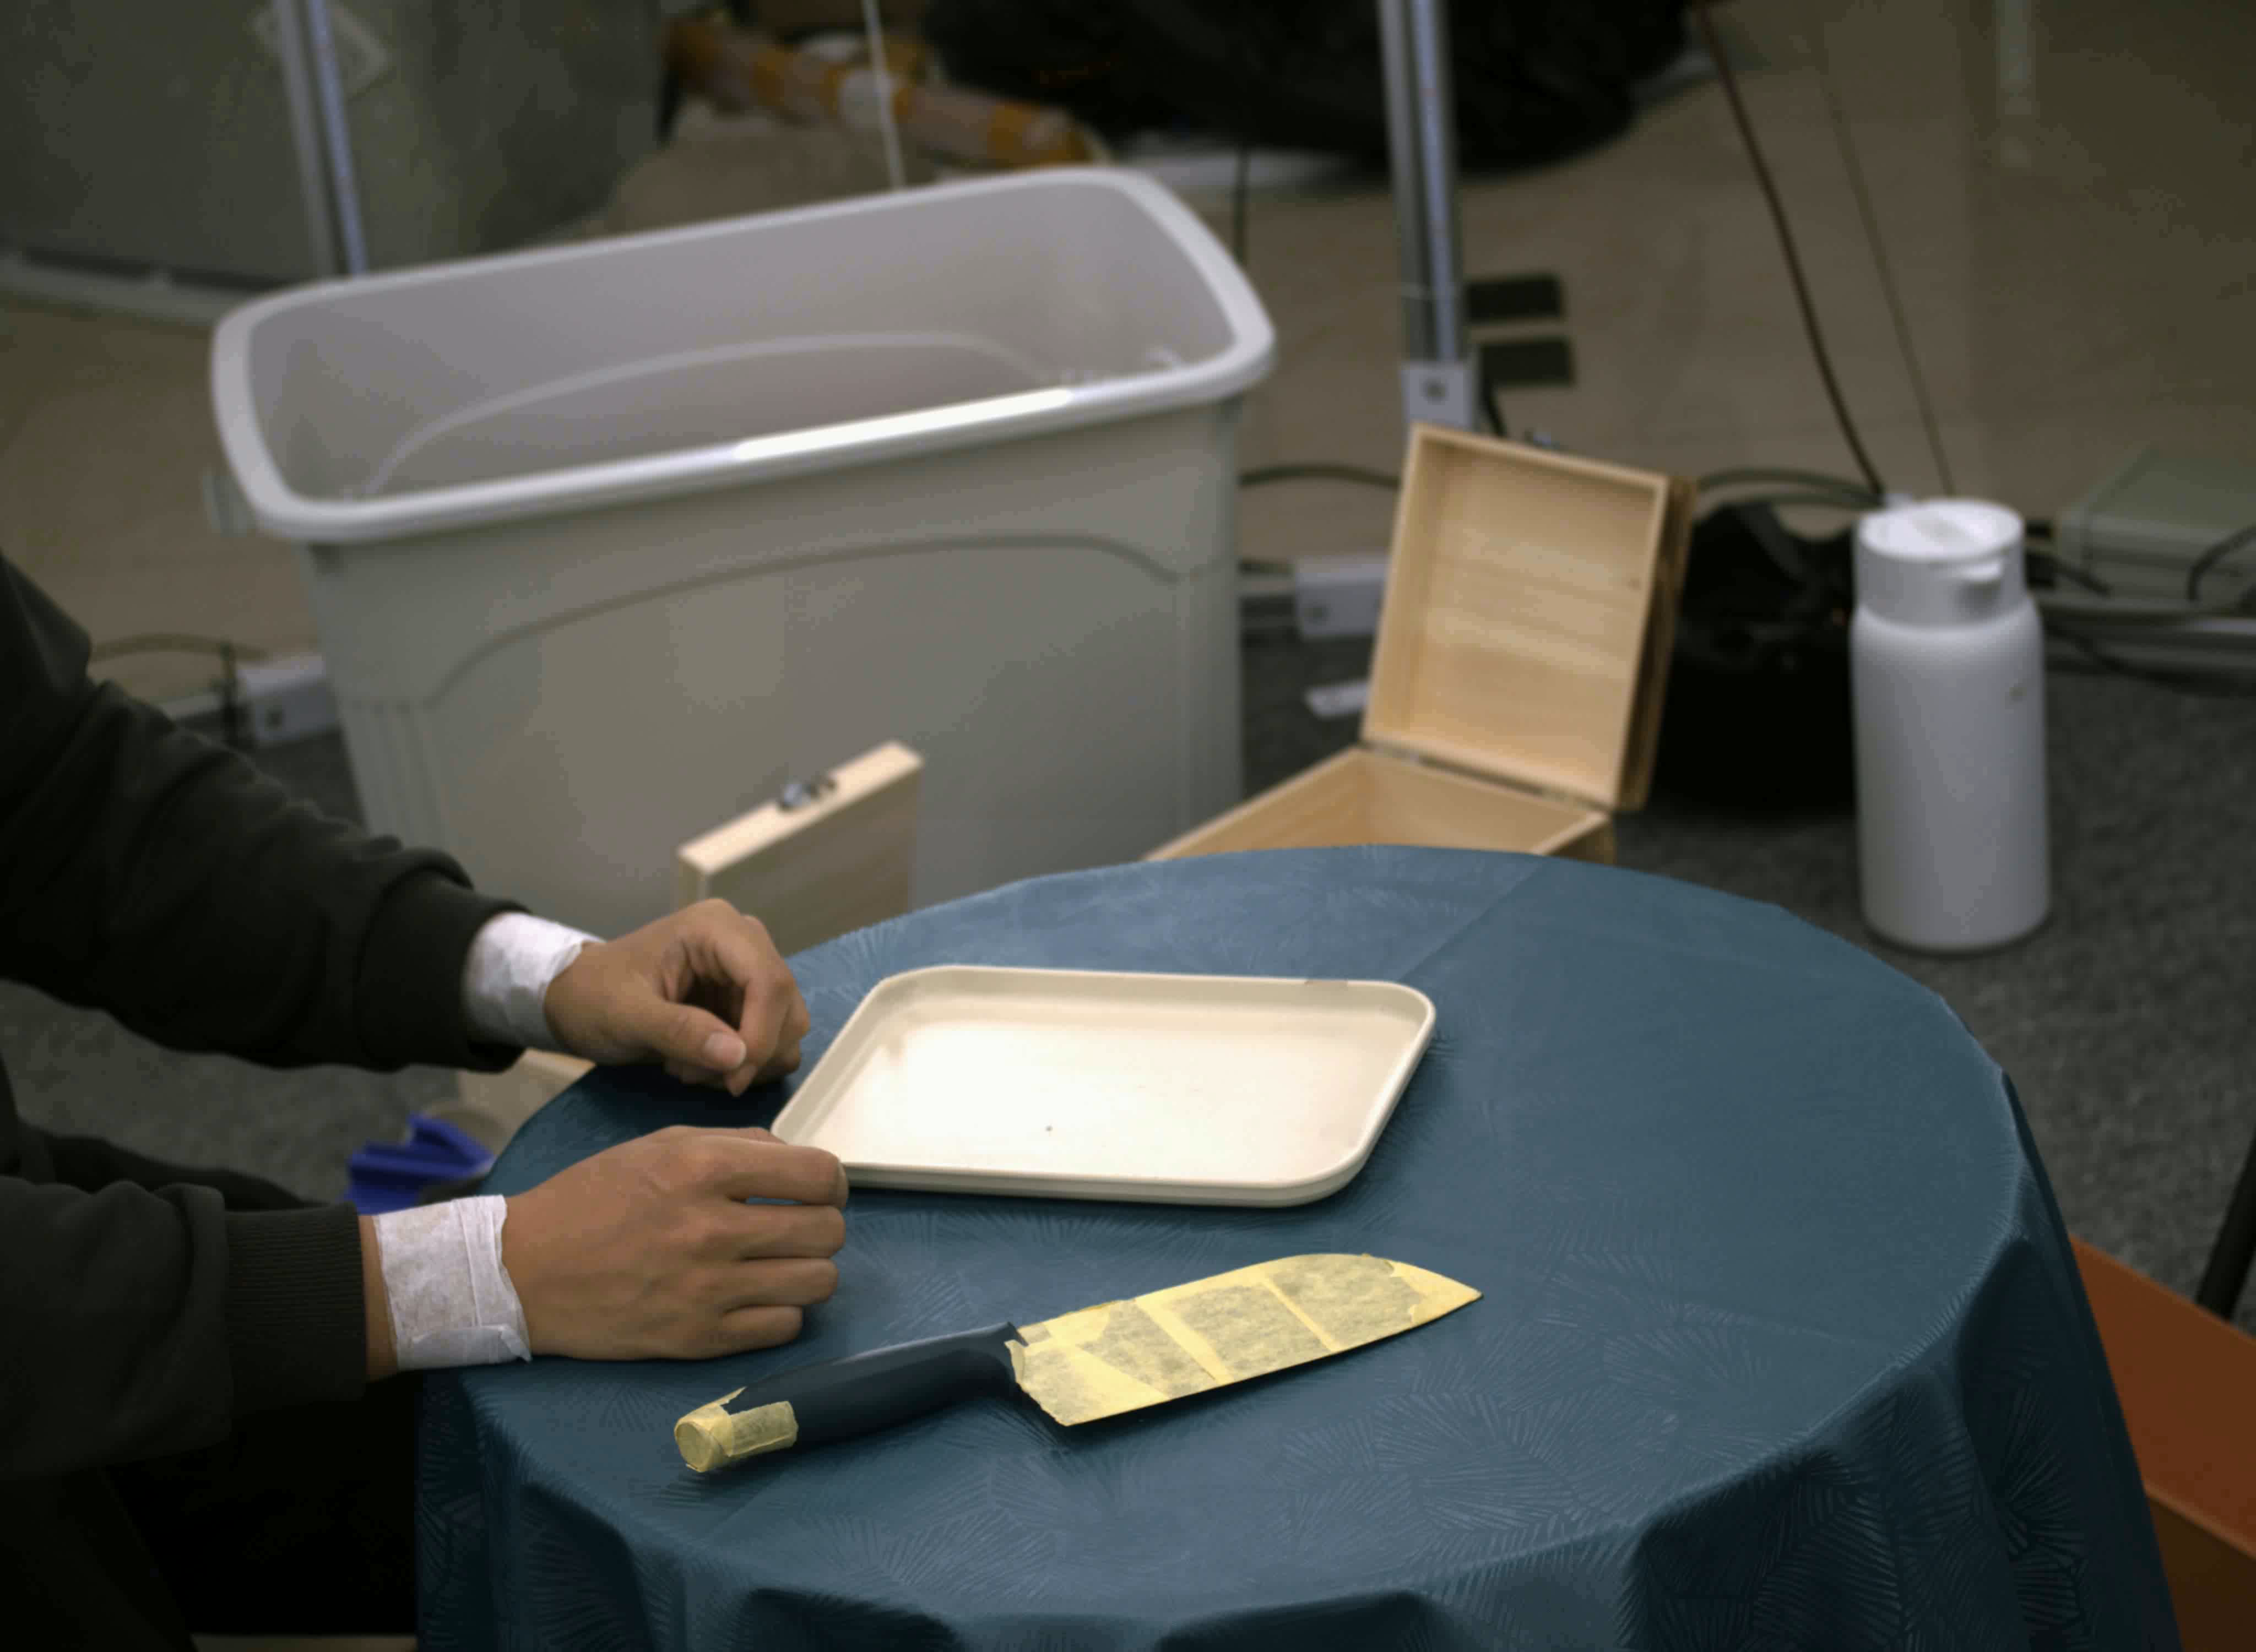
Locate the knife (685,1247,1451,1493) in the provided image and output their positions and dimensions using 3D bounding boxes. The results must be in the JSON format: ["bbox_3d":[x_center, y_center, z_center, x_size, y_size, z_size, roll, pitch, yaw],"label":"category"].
[{"bbox_3d":[-0.017,0.193,2.021,0.288,0.027,0.080,-14,24,-18],"label":"knife"}]

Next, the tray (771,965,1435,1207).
[{"bbox_3d":[-0.008,0.102,2.213,0.239,0.018,0.169,2,27,18],"label":"tray"}]
